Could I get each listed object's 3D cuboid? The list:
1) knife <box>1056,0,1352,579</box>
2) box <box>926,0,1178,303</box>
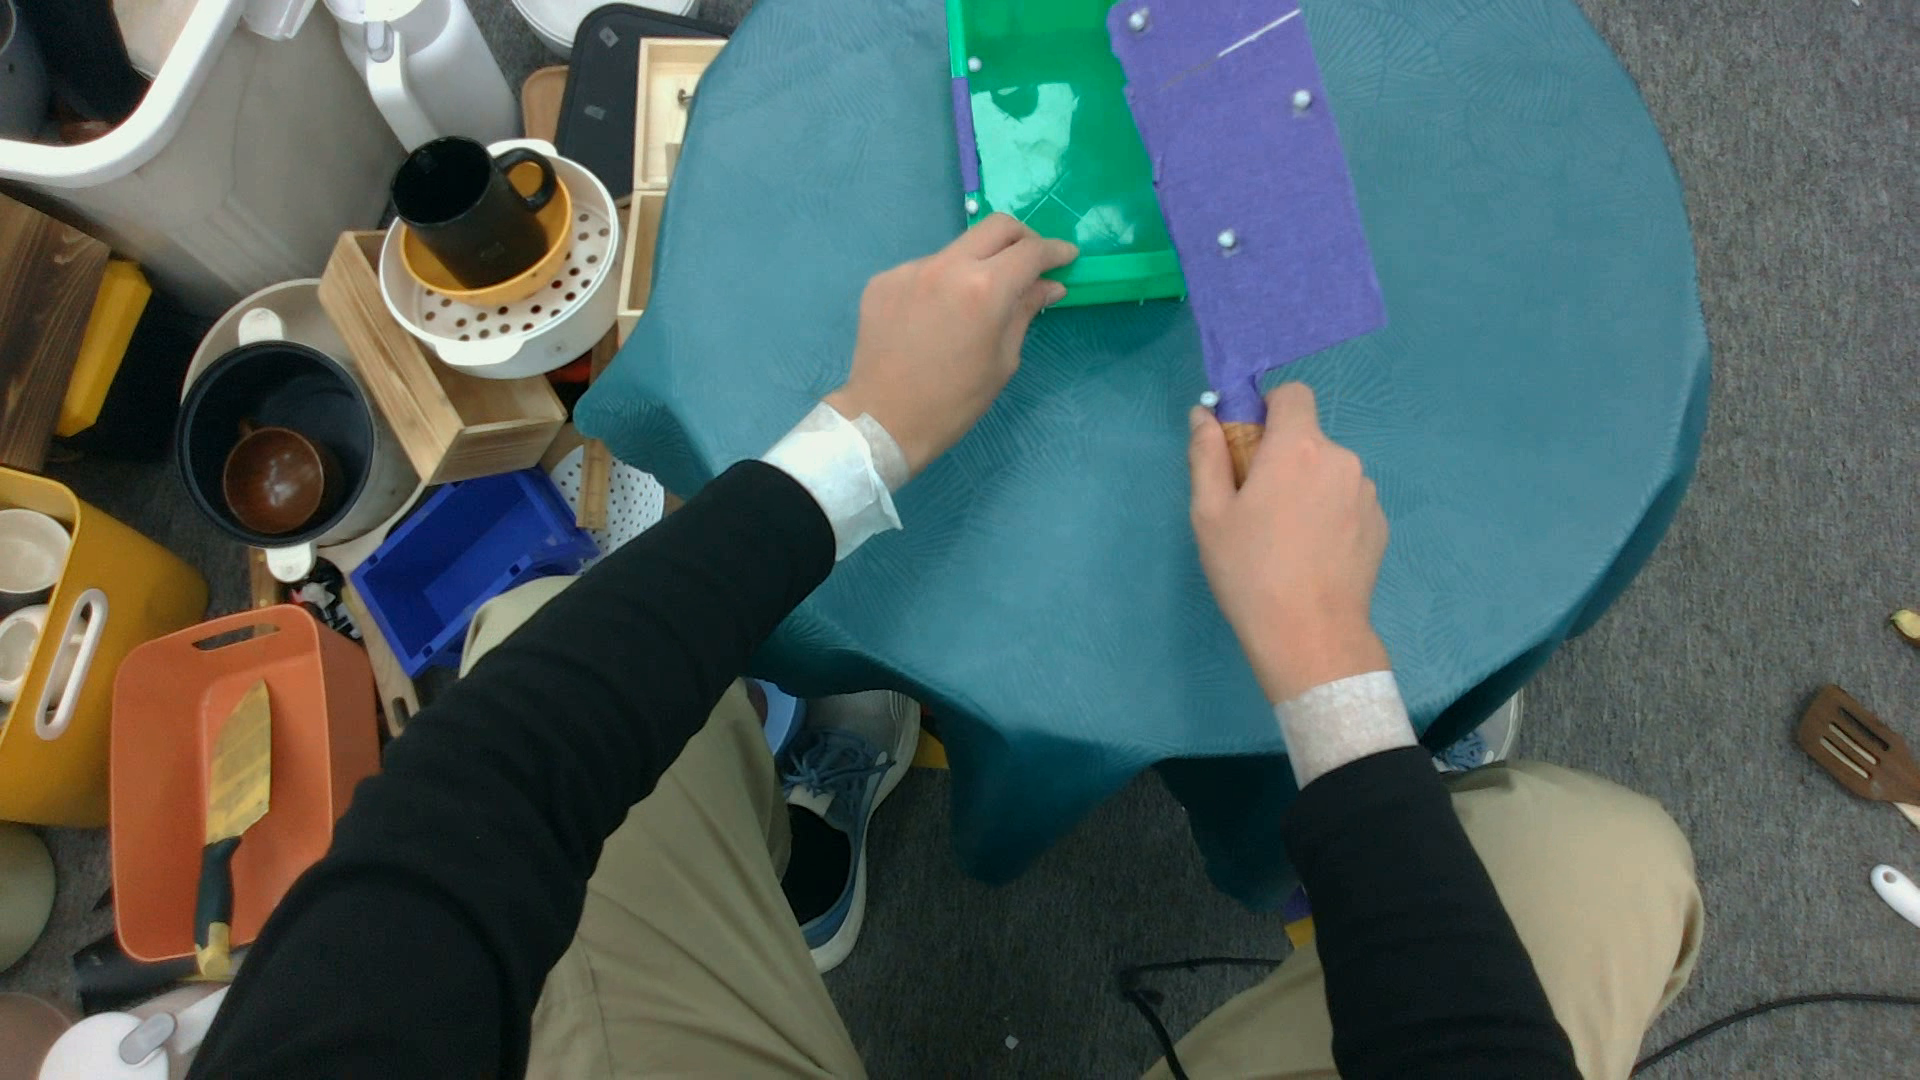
[{"bbox_3d":[0.133,-0.142,0.670,0.103,0.032,0.315,-22,82,32],"label":"knife"},{"bbox_3d":[0.057,-0.236,0.788,0.138,0.065,0.211,-7,75,-1],"label":"box"}]
